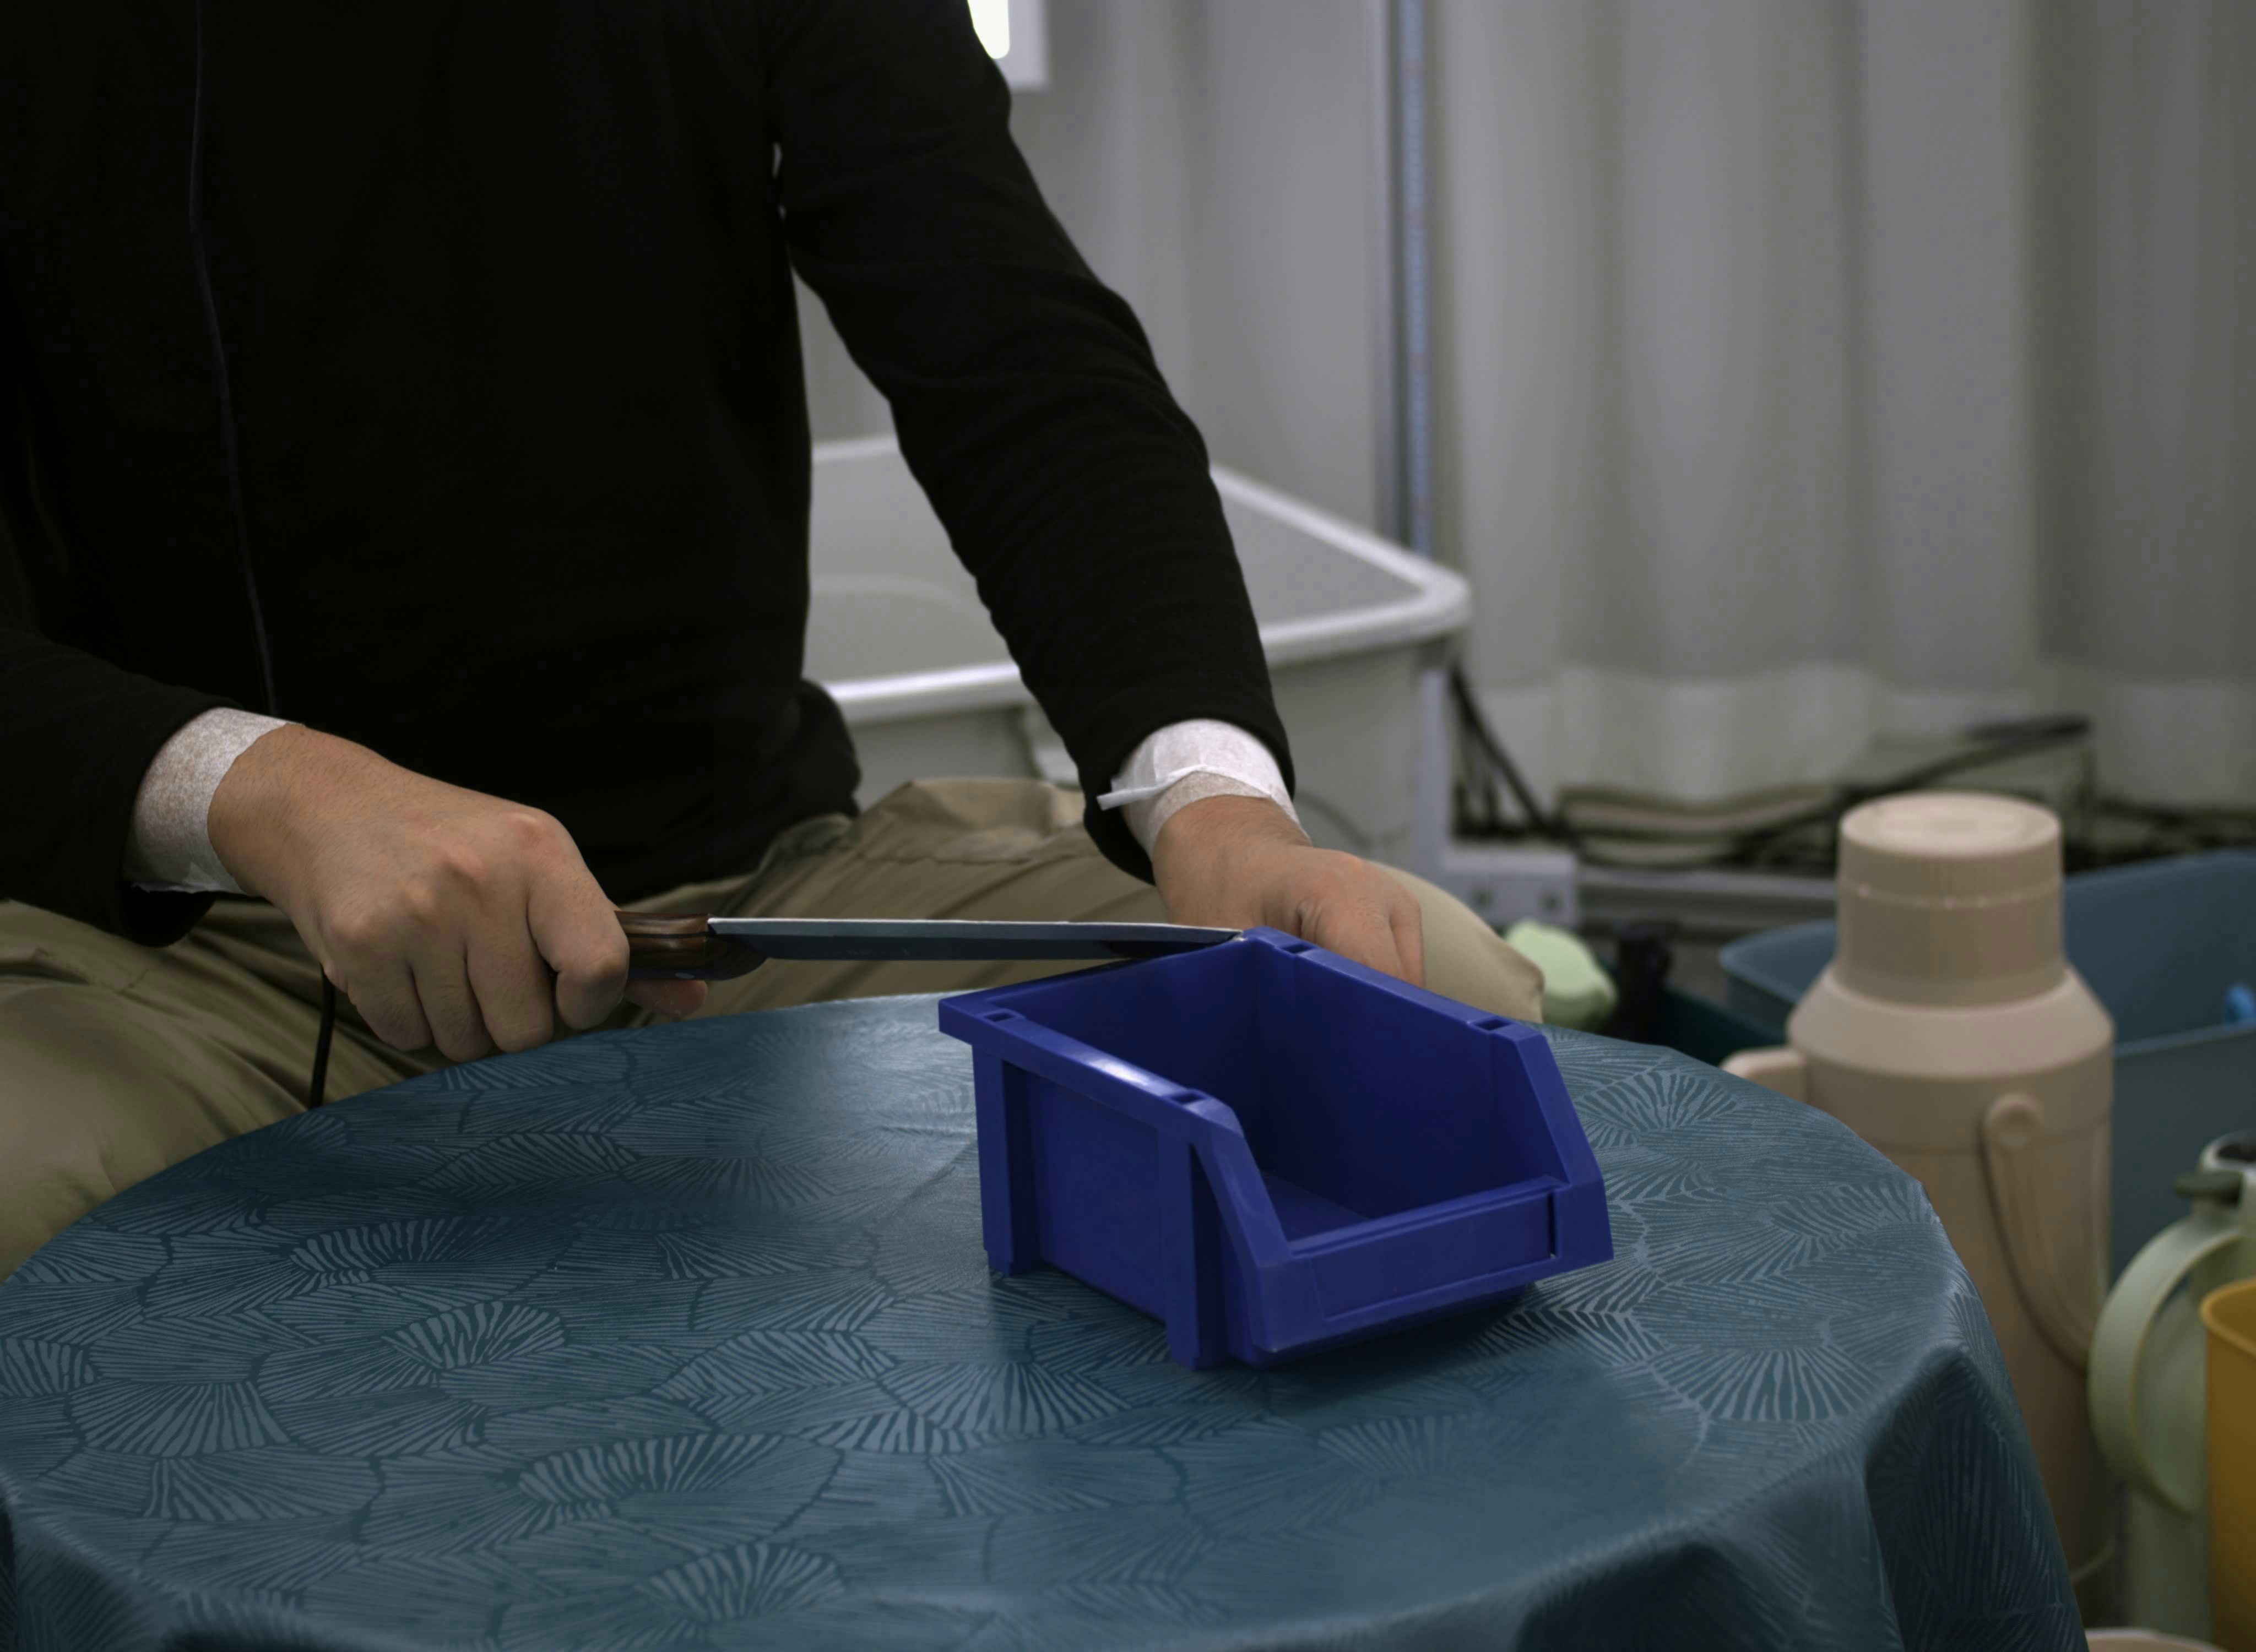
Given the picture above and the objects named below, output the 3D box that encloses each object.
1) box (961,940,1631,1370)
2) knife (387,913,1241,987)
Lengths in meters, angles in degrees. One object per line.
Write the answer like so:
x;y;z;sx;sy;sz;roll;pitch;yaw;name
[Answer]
0.049;0.098;1.609;0.124;0.081;0.180;-10;14;-28;box
-0.102;0.037;1.696;0.289;0.020;0.050;-1;-16;19;knife
